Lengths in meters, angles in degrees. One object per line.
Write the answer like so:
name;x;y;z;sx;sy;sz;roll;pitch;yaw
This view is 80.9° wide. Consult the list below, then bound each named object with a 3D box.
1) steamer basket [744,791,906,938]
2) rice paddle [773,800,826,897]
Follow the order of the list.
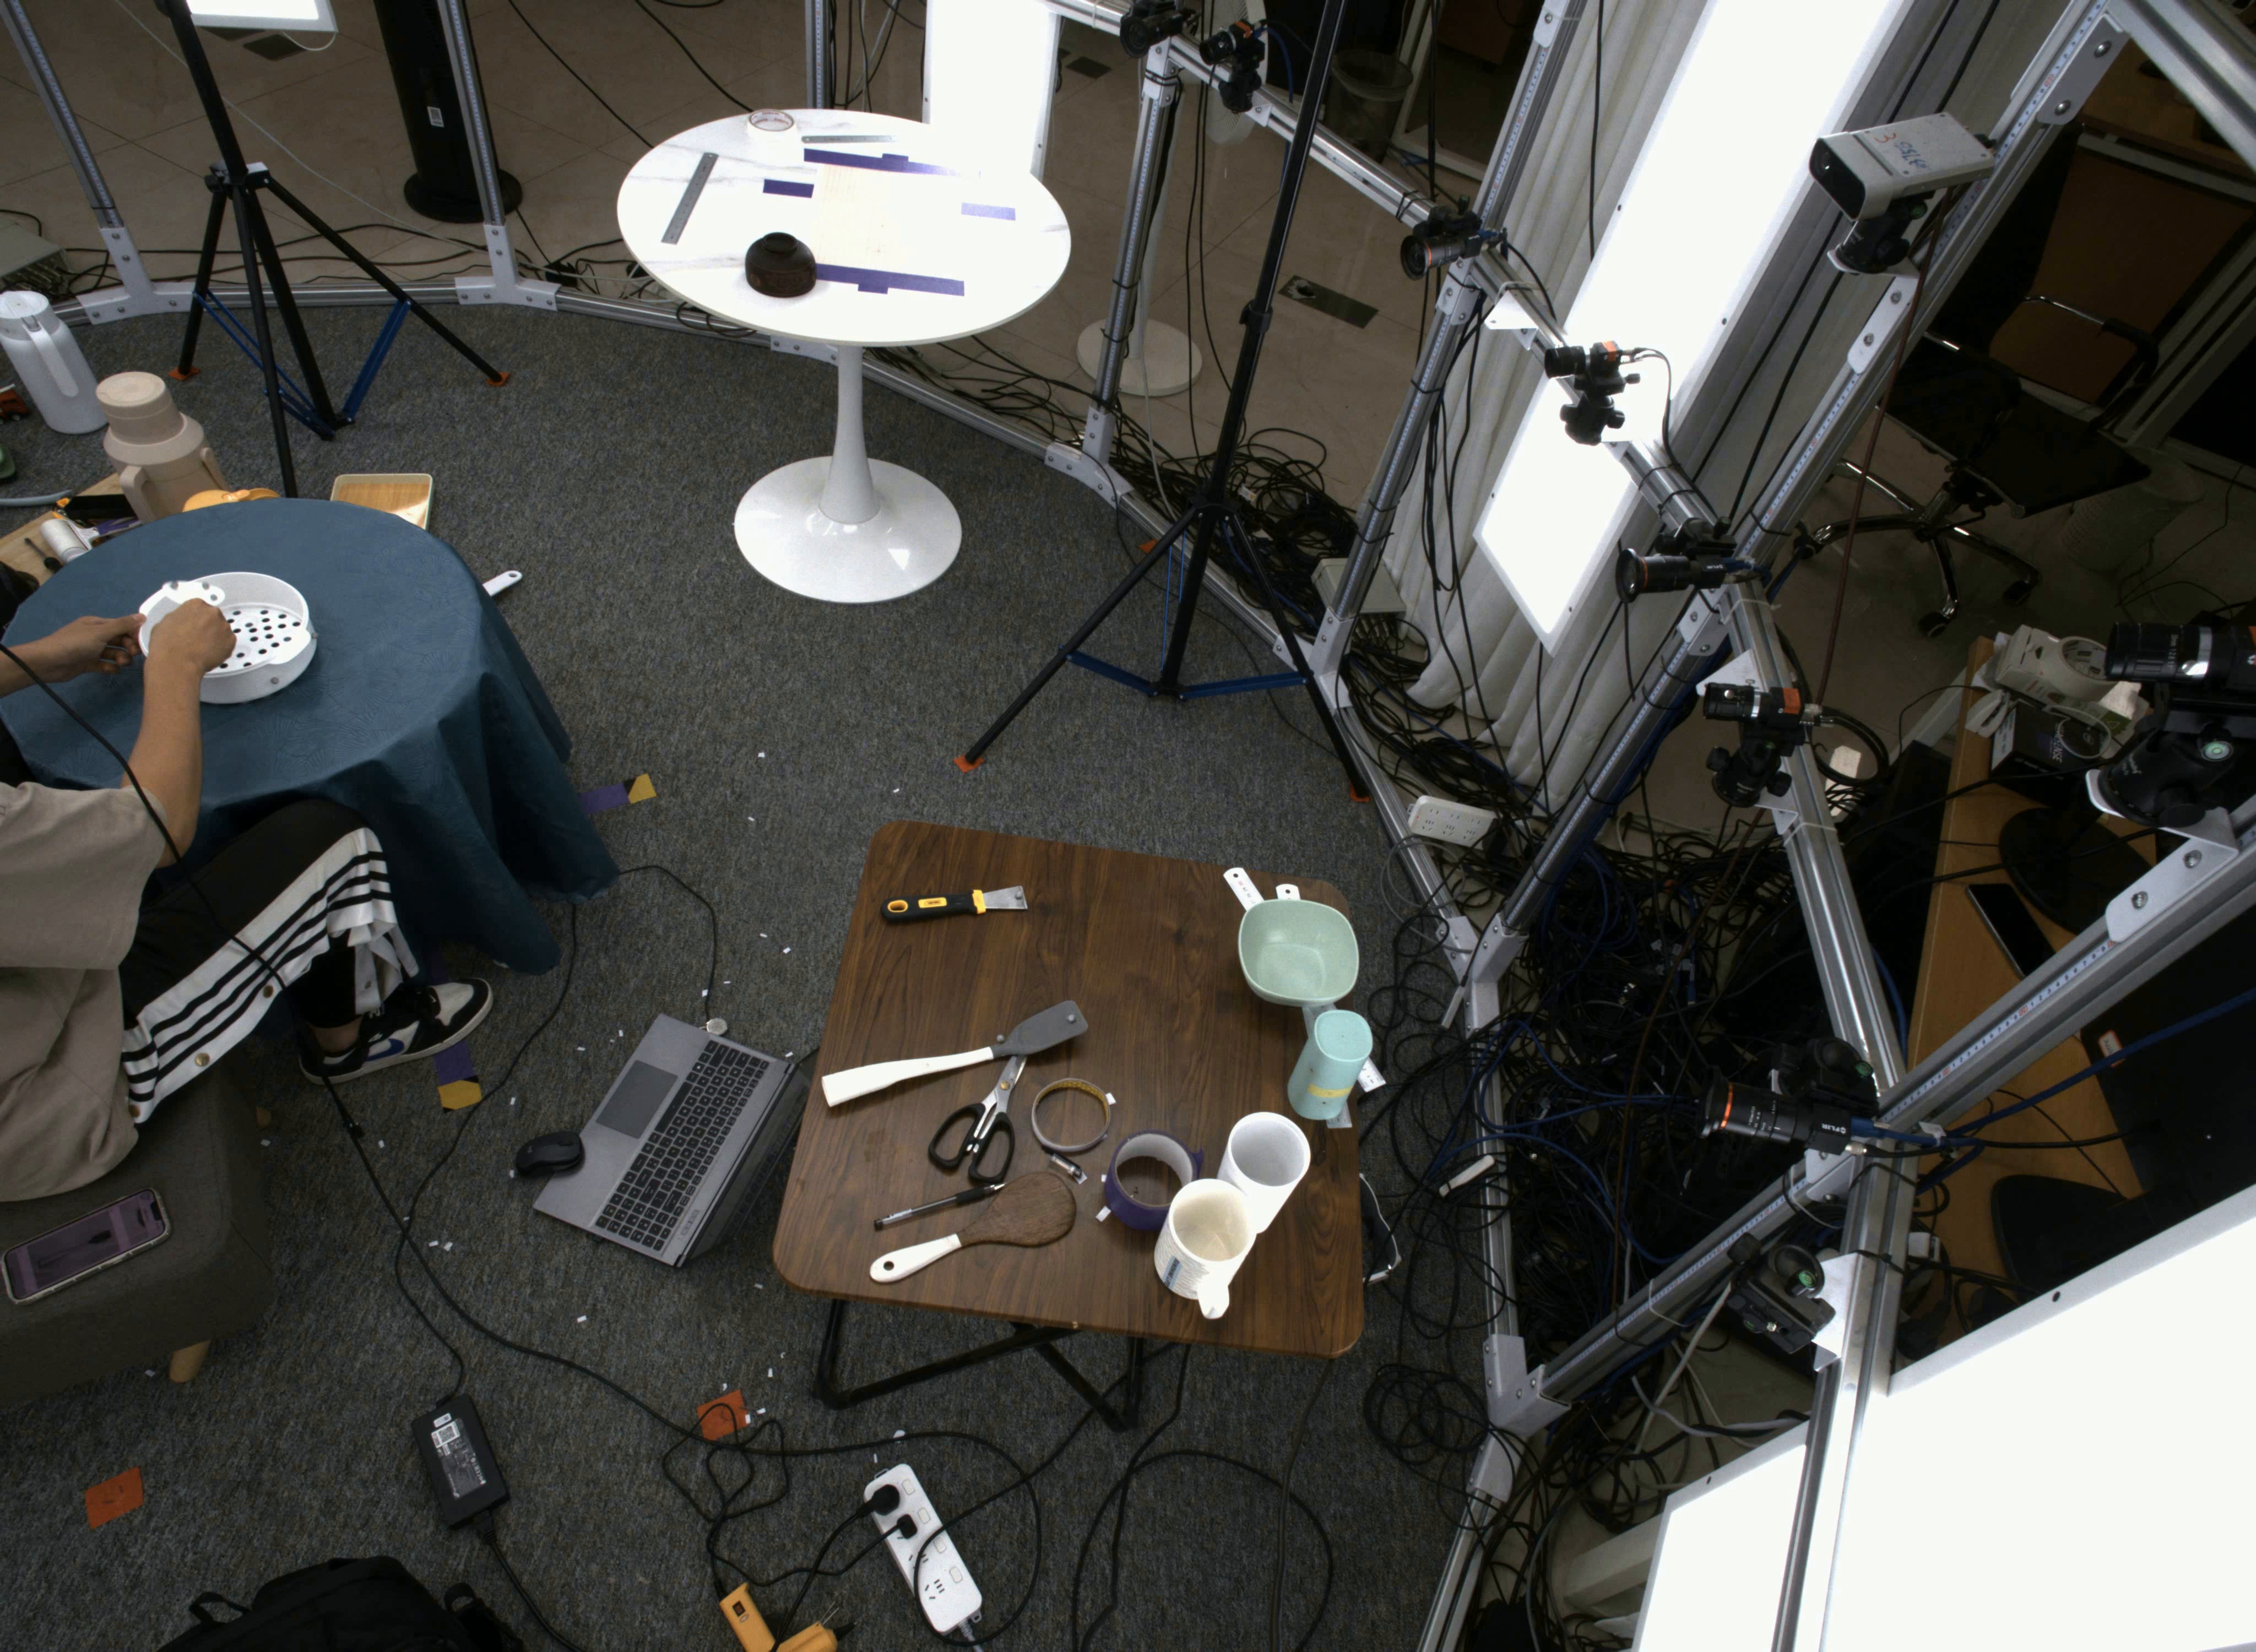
steamer basket;-0.387;0.049;1.666;0.225;0.071;0.201;31;53;14
rice paddle;-0.394;0.017;1.573;0.070;0.030;0.198;16;24;-28
